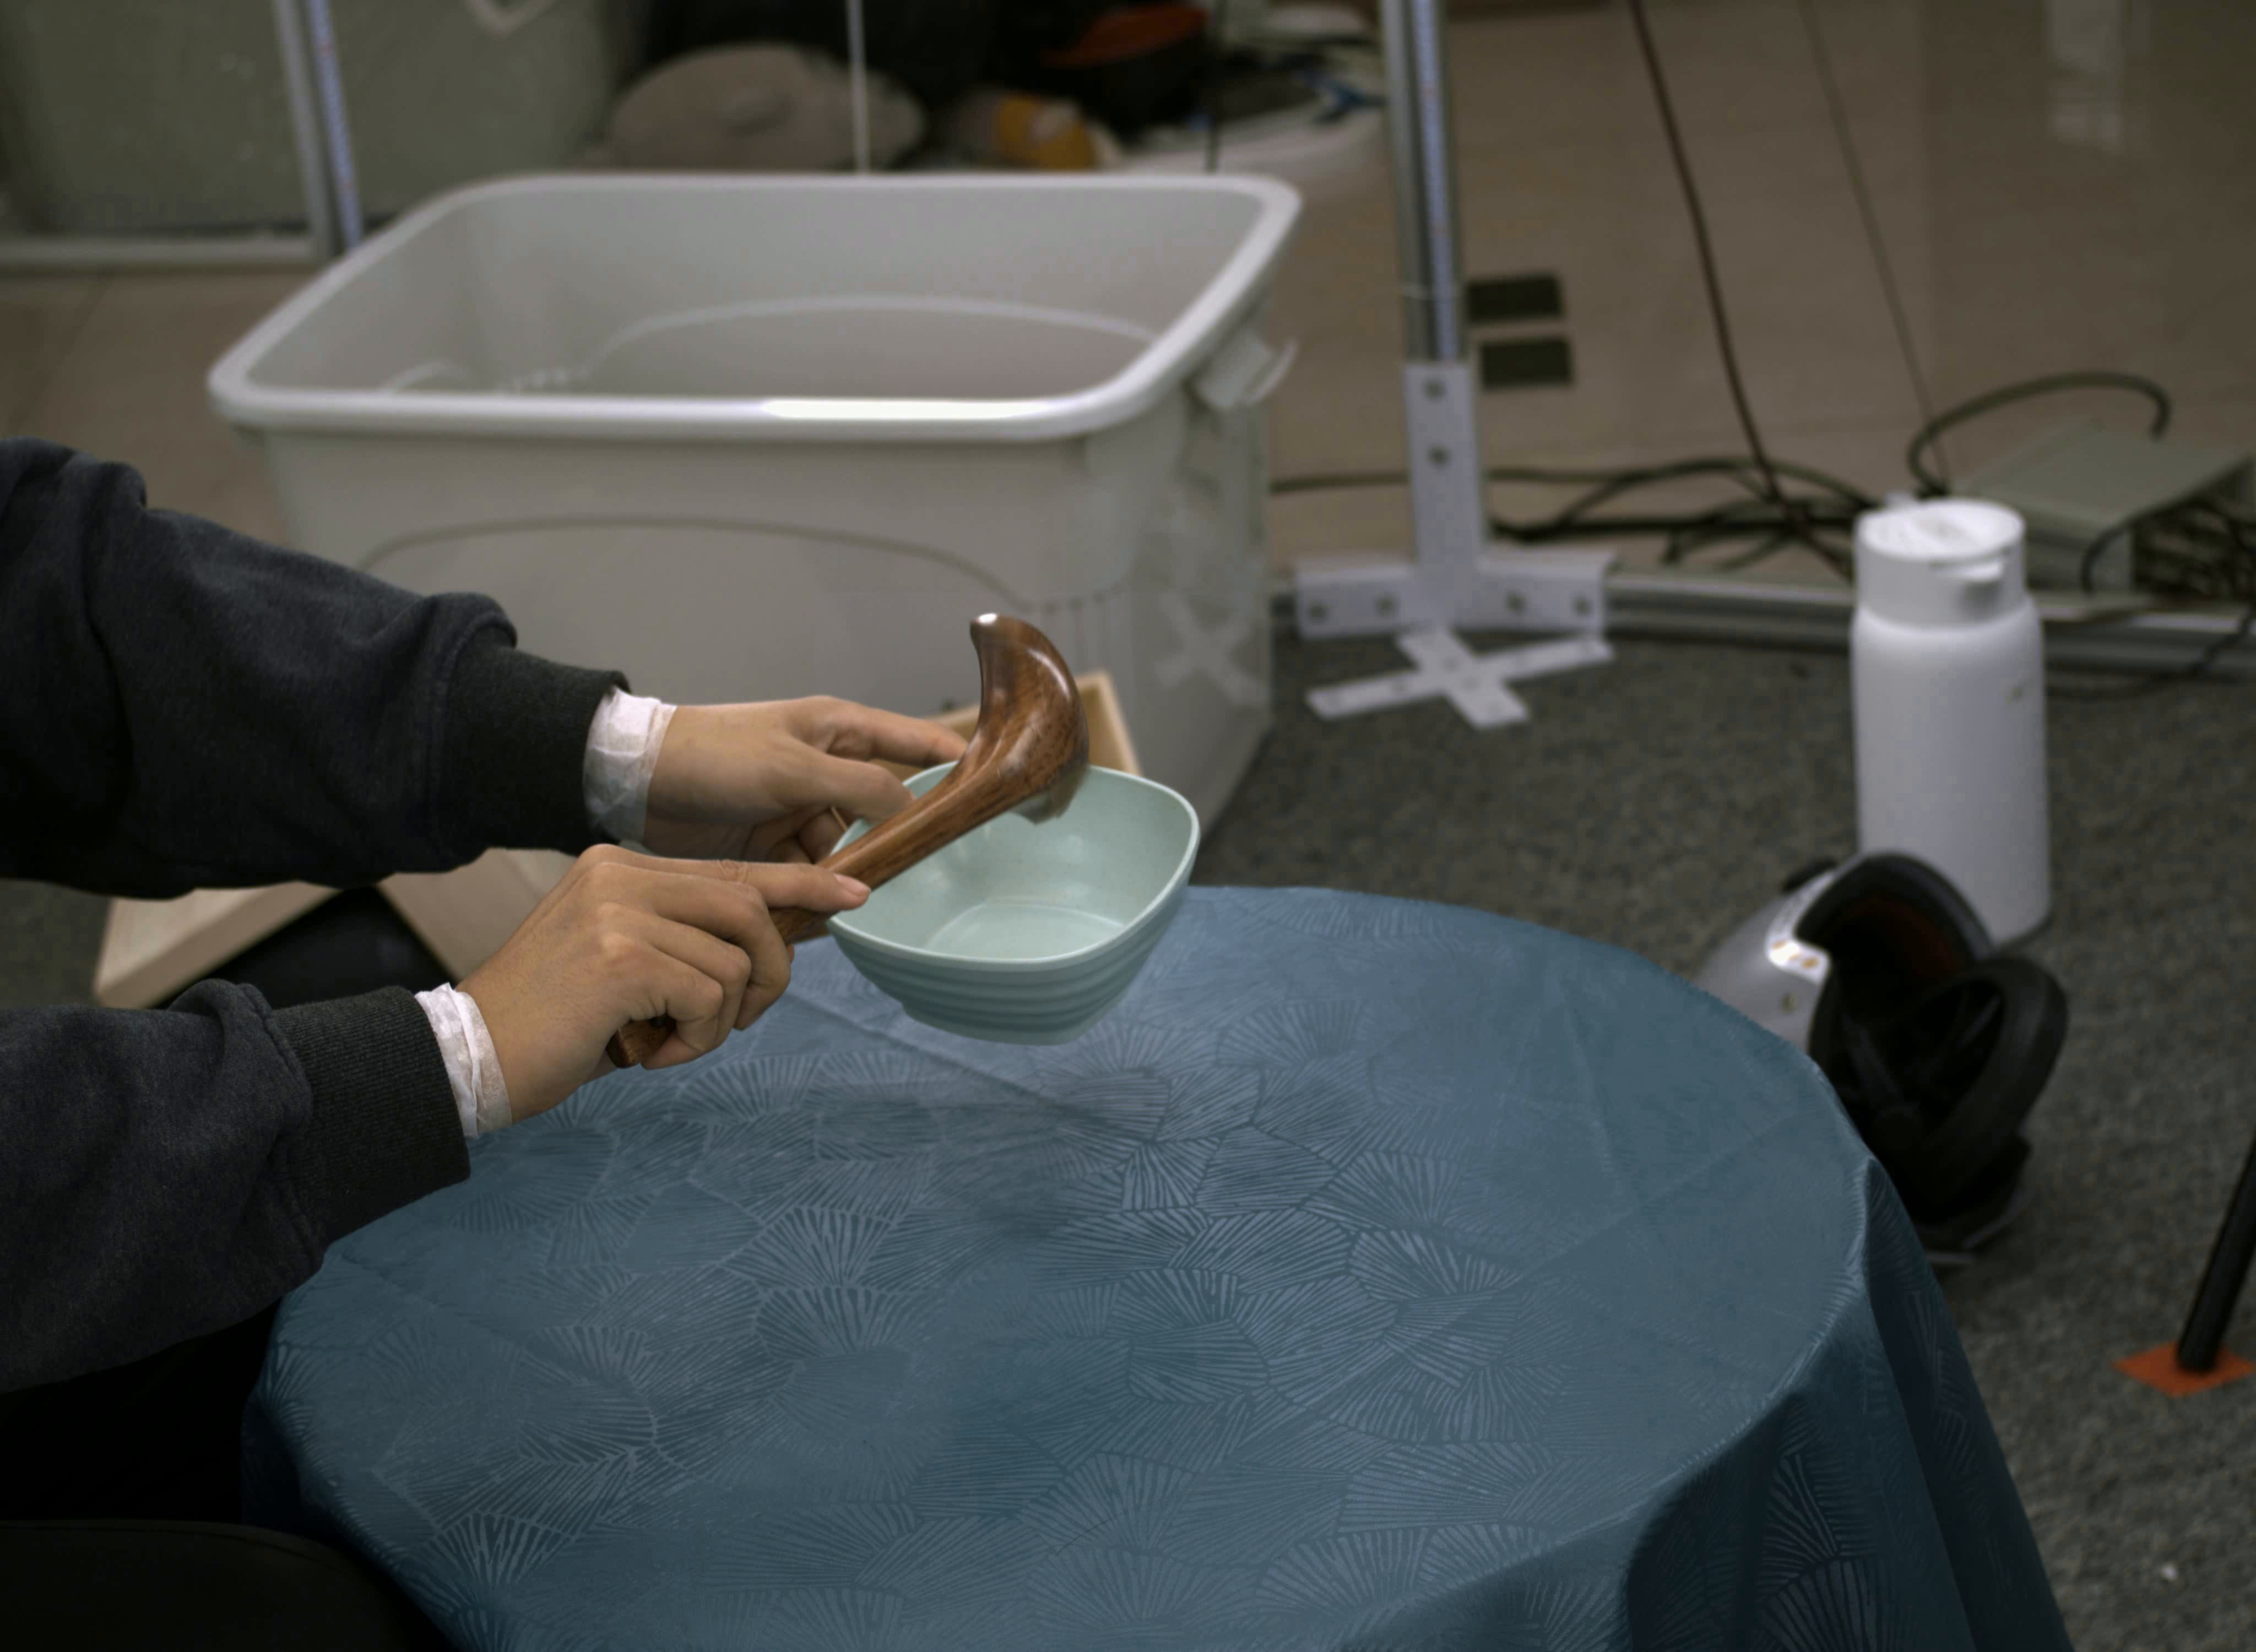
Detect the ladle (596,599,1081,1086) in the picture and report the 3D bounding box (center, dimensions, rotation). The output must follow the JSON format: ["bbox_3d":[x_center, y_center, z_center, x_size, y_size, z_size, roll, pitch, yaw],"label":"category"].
[{"bbox_3d":[-0.112,0.006,2.034,0.076,0.083,0.271,9,37,46],"label":"ladle"}]

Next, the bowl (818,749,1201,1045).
[{"bbox_3d":[-0.045,0.033,2.169,0.151,0.060,0.149,-1,35,1],"label":"bowl"}]
